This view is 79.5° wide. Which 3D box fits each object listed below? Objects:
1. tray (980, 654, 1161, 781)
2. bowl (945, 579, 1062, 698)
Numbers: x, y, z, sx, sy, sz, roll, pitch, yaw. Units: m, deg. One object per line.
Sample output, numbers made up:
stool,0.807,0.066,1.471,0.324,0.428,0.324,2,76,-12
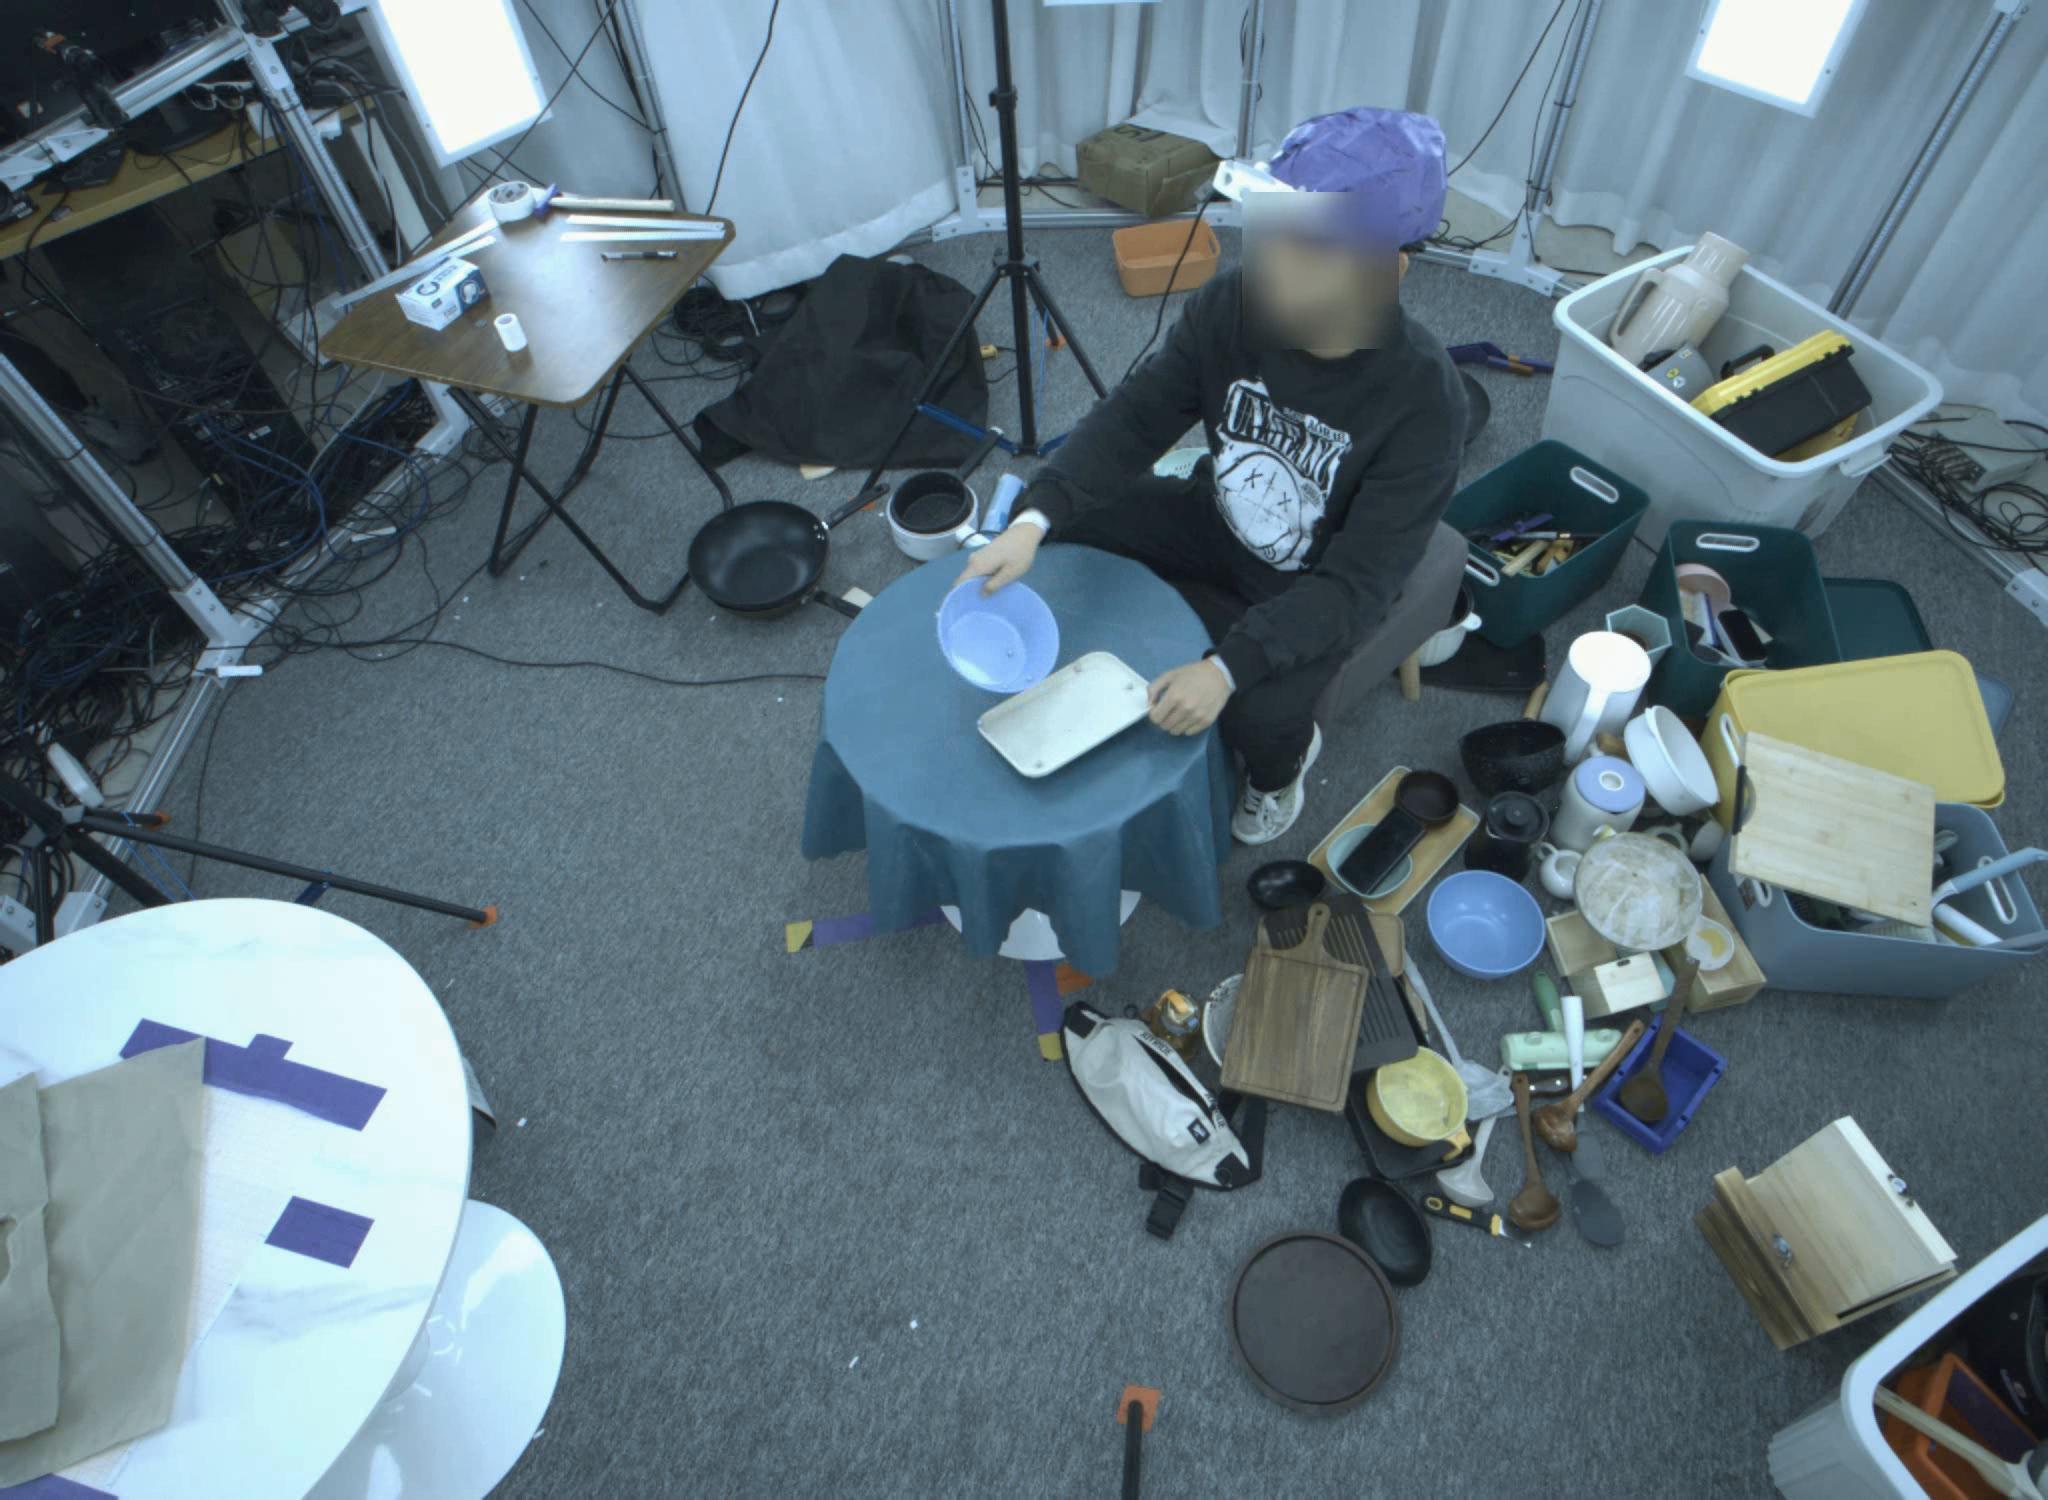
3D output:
tray,0.068,-0.049,1.798,0.241,0.018,0.167,-31,47,-17
bowl,-0.038,-0.148,1.732,0.179,0.069,0.175,7,72,-22
